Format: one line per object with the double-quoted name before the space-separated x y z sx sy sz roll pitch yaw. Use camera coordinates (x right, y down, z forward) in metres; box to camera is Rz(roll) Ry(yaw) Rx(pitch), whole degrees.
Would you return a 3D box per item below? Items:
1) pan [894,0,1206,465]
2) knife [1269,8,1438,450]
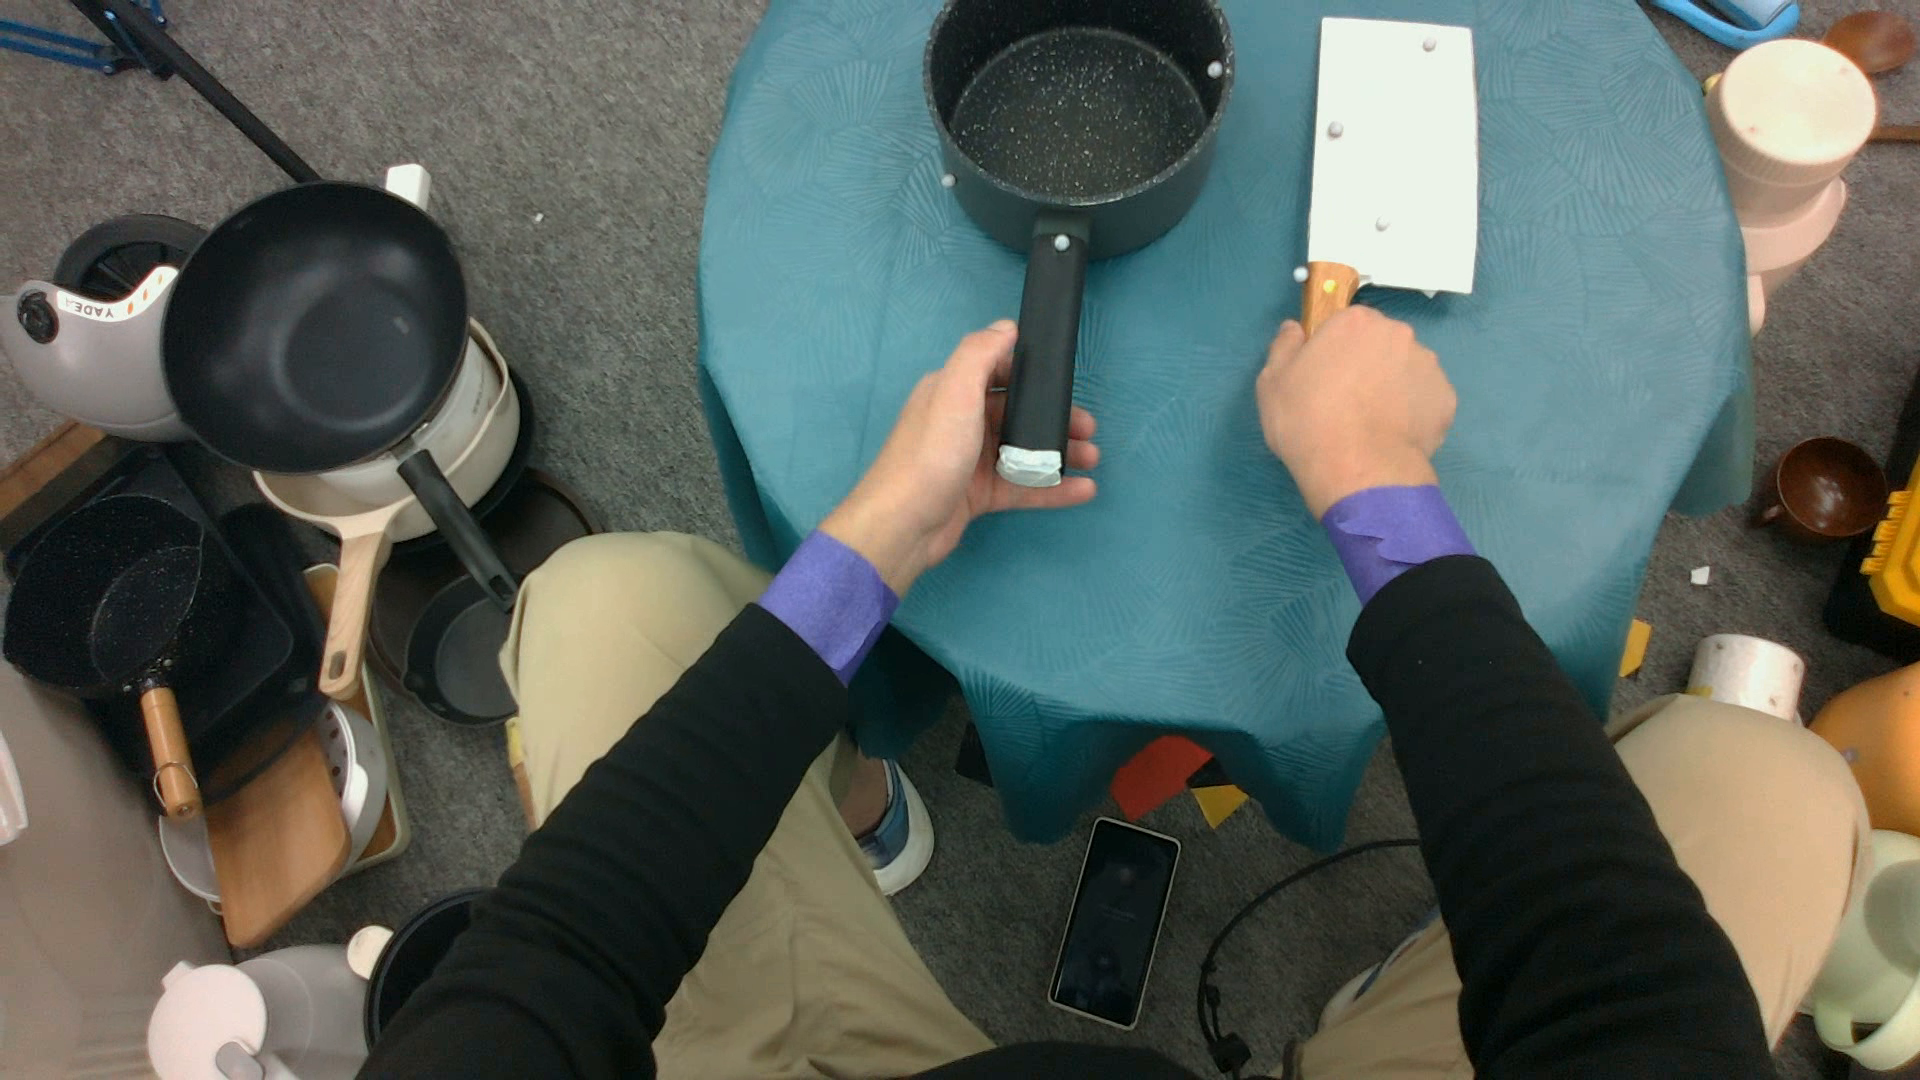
"pan" 0.040 -0.185 0.768 0.172 0.086 0.329 7 72 6
"knife" 0.224 -0.185 0.781 0.093 0.021 0.307 6 67 5
